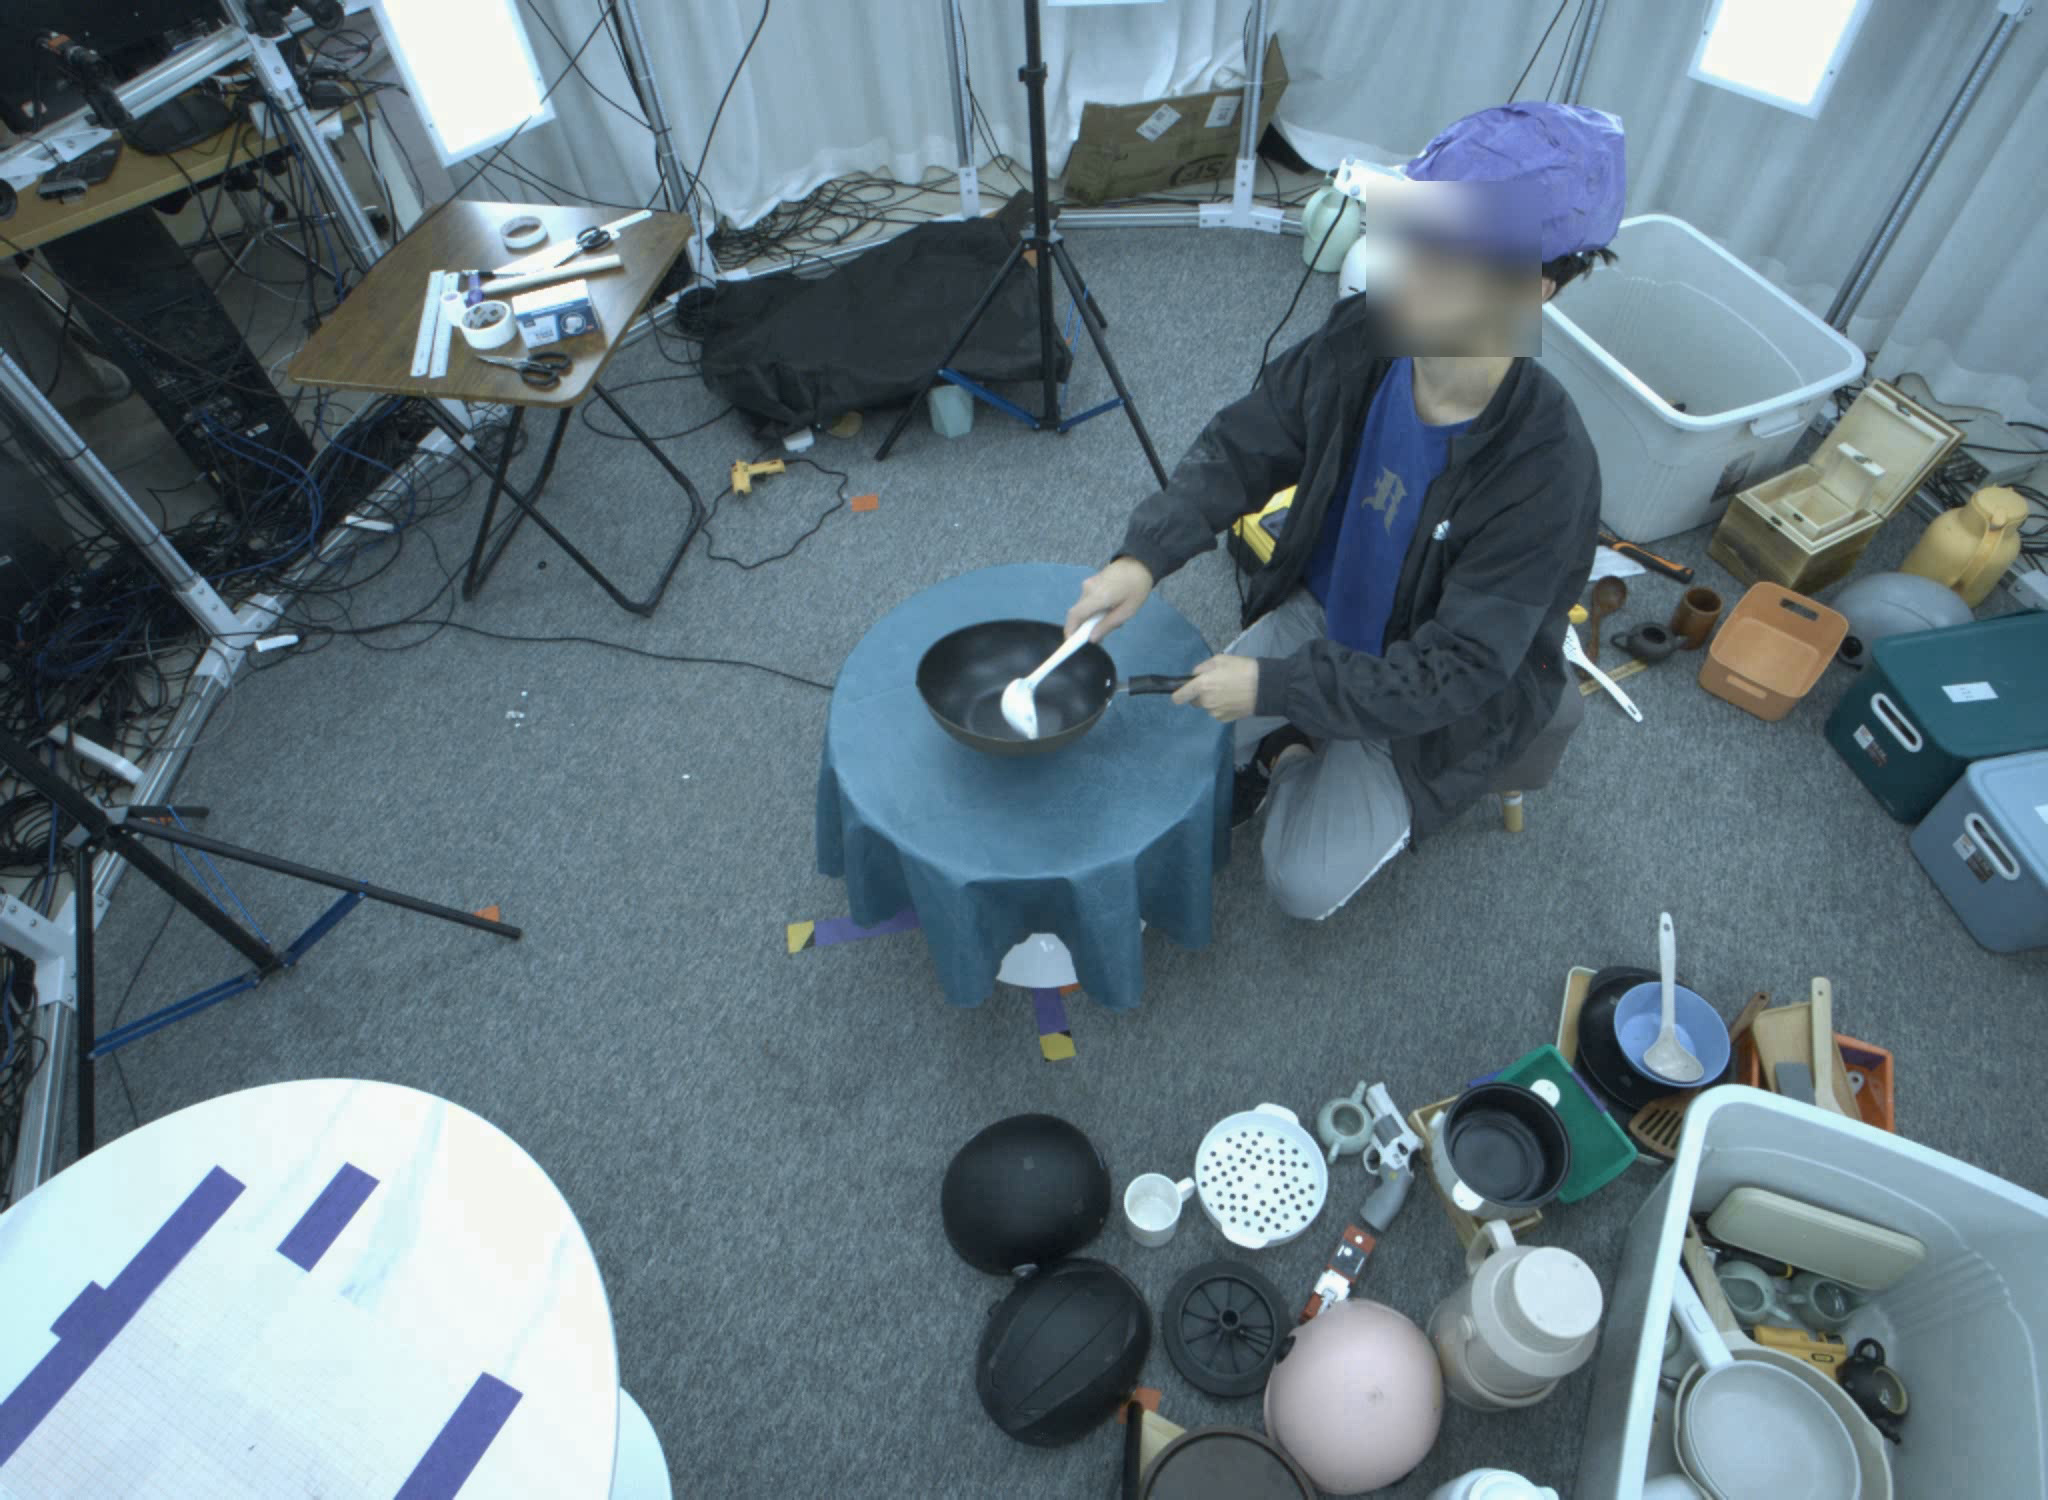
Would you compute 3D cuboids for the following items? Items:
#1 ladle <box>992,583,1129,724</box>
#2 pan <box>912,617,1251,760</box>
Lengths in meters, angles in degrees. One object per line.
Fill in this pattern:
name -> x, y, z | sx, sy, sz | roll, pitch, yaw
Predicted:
ladle -> 0.059, -0.142, 1.671 | 0.068, 0.091, 0.295 | 12, 43, 44
pan -> 0.078, -0.070, 1.703 | 0.464, 0.087, 0.285 | 3, 41, 0
